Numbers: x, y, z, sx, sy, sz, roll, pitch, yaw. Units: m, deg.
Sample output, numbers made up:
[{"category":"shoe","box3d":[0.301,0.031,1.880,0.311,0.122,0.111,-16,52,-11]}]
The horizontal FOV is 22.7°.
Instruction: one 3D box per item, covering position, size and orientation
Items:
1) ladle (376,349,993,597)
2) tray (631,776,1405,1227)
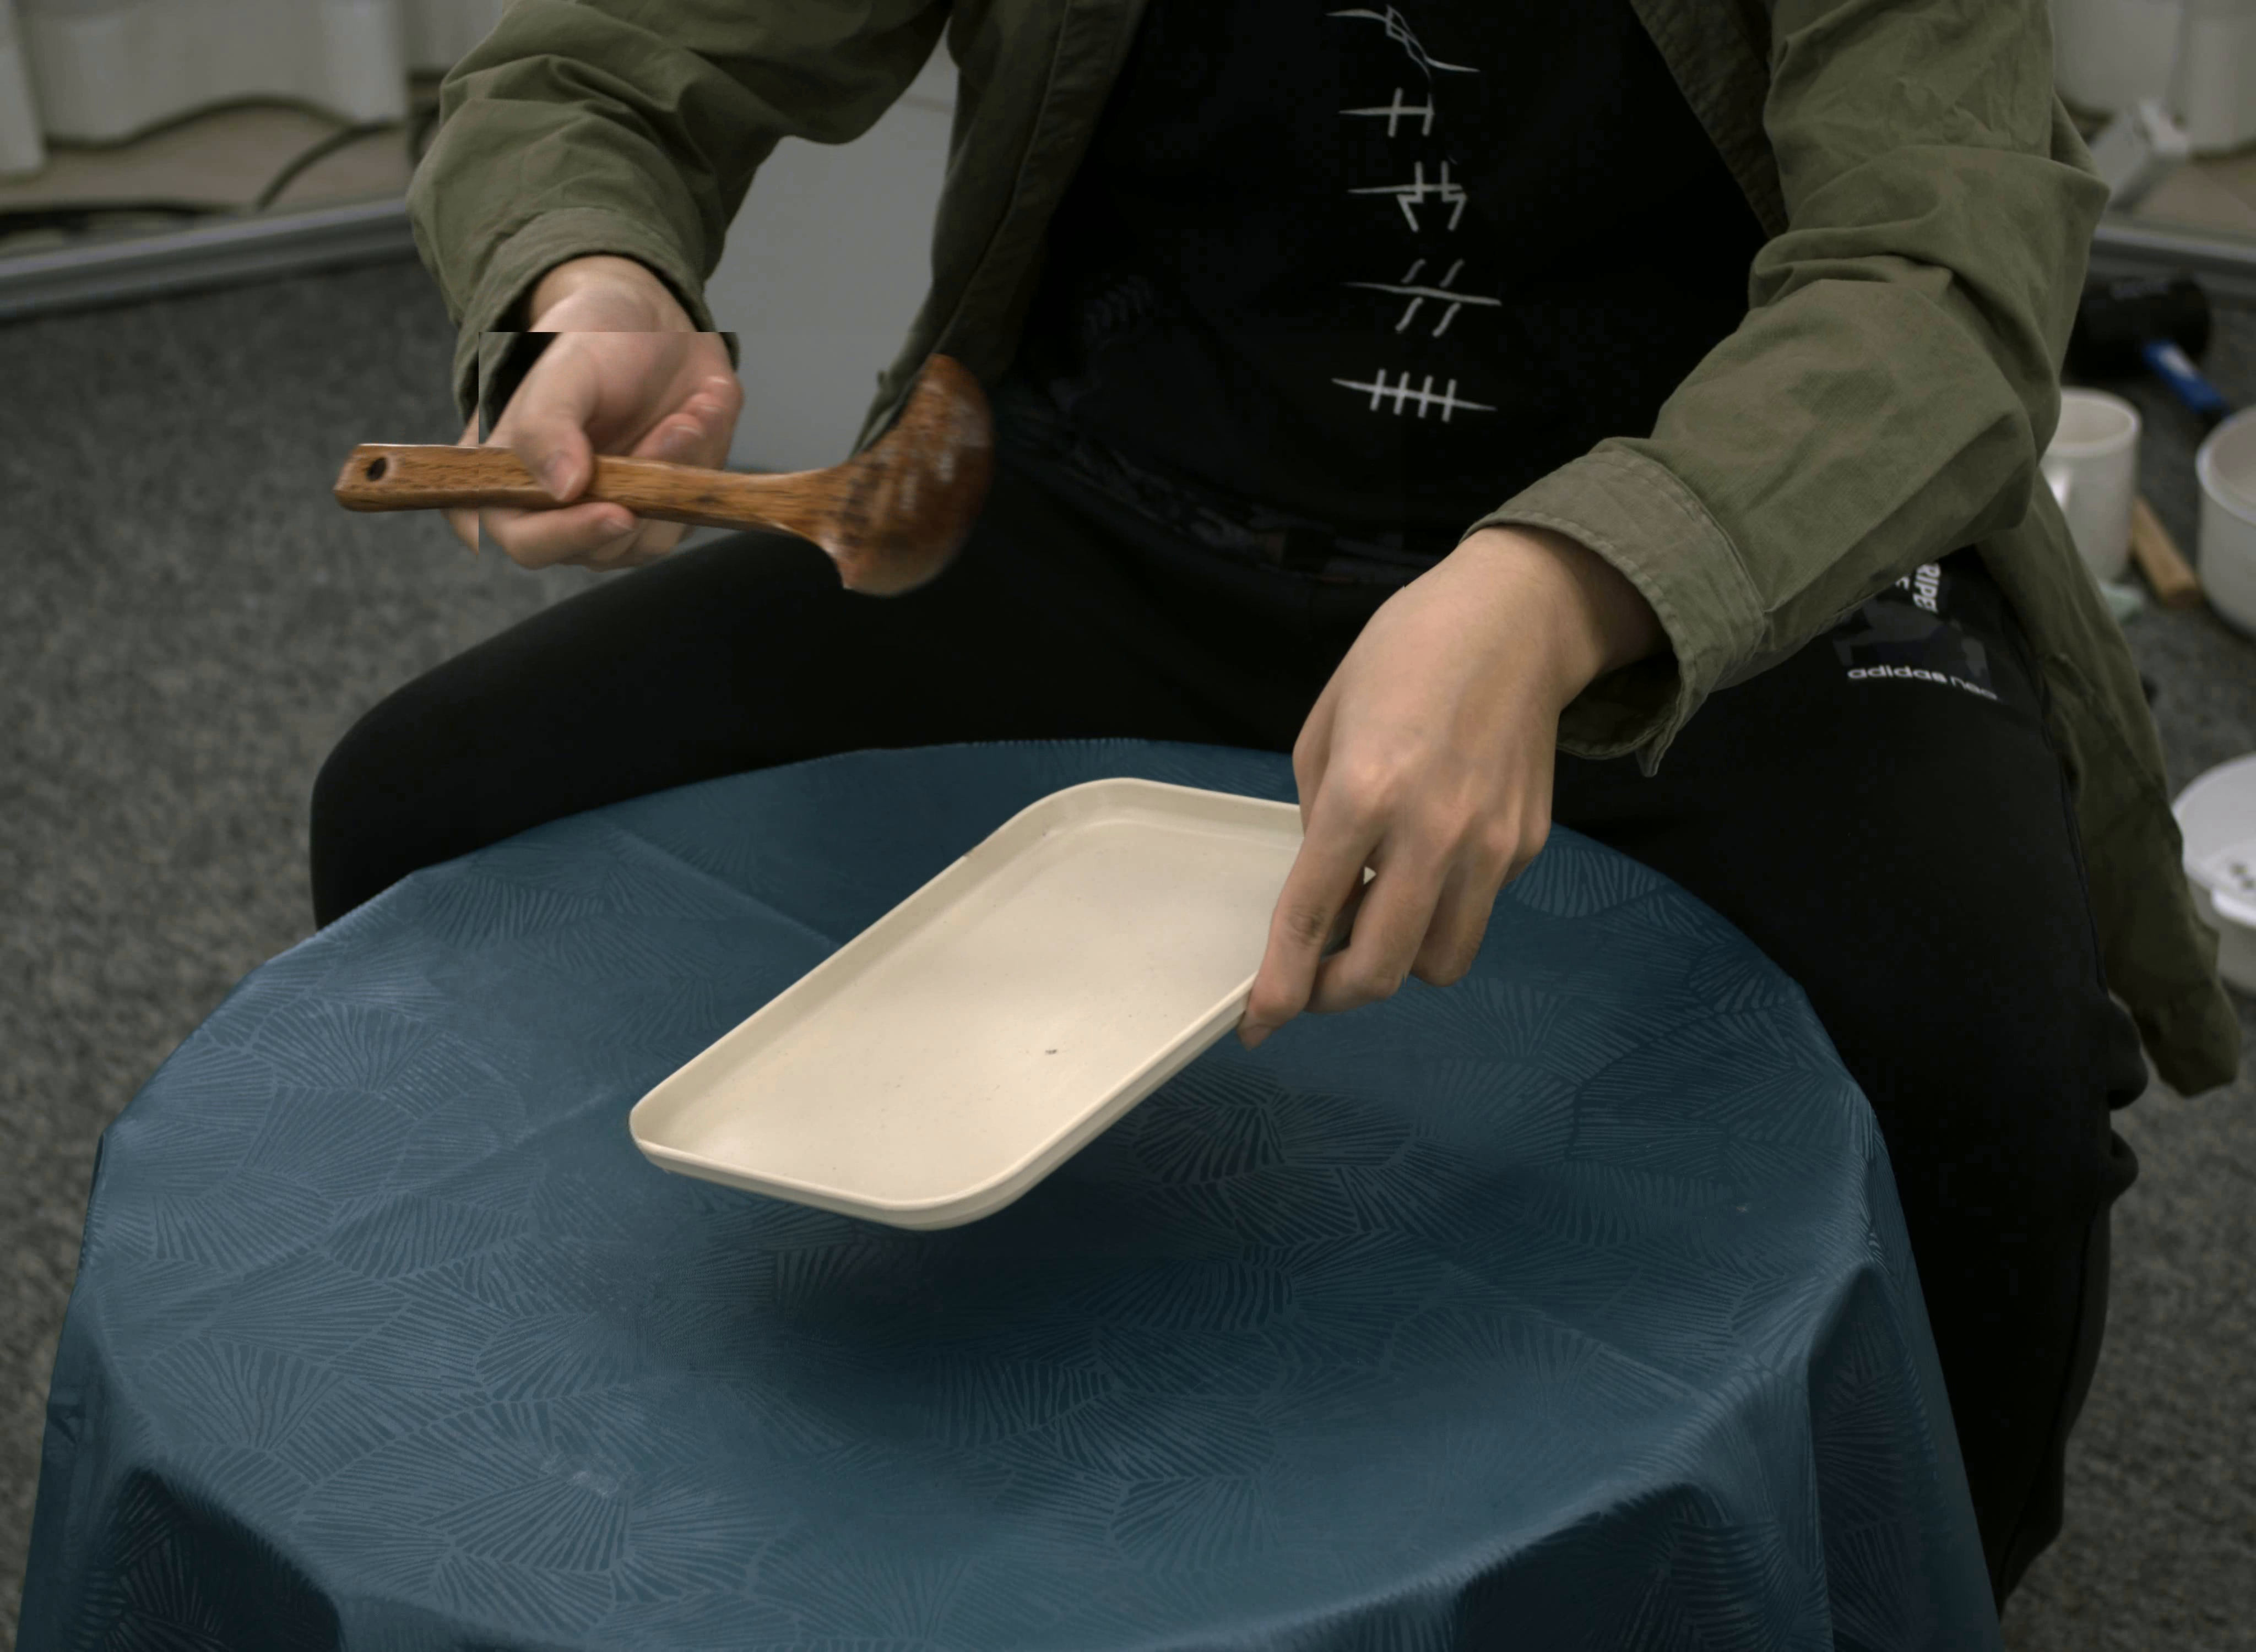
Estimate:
[{"category":"ladle","box3d":[-0.156,-0.123,1.835,0.272,0.076,0.083,9,63,33]},{"category":"tray","box3d":[-0.033,0.055,1.805,0.170,0.017,0.243,8,35,44]}]
